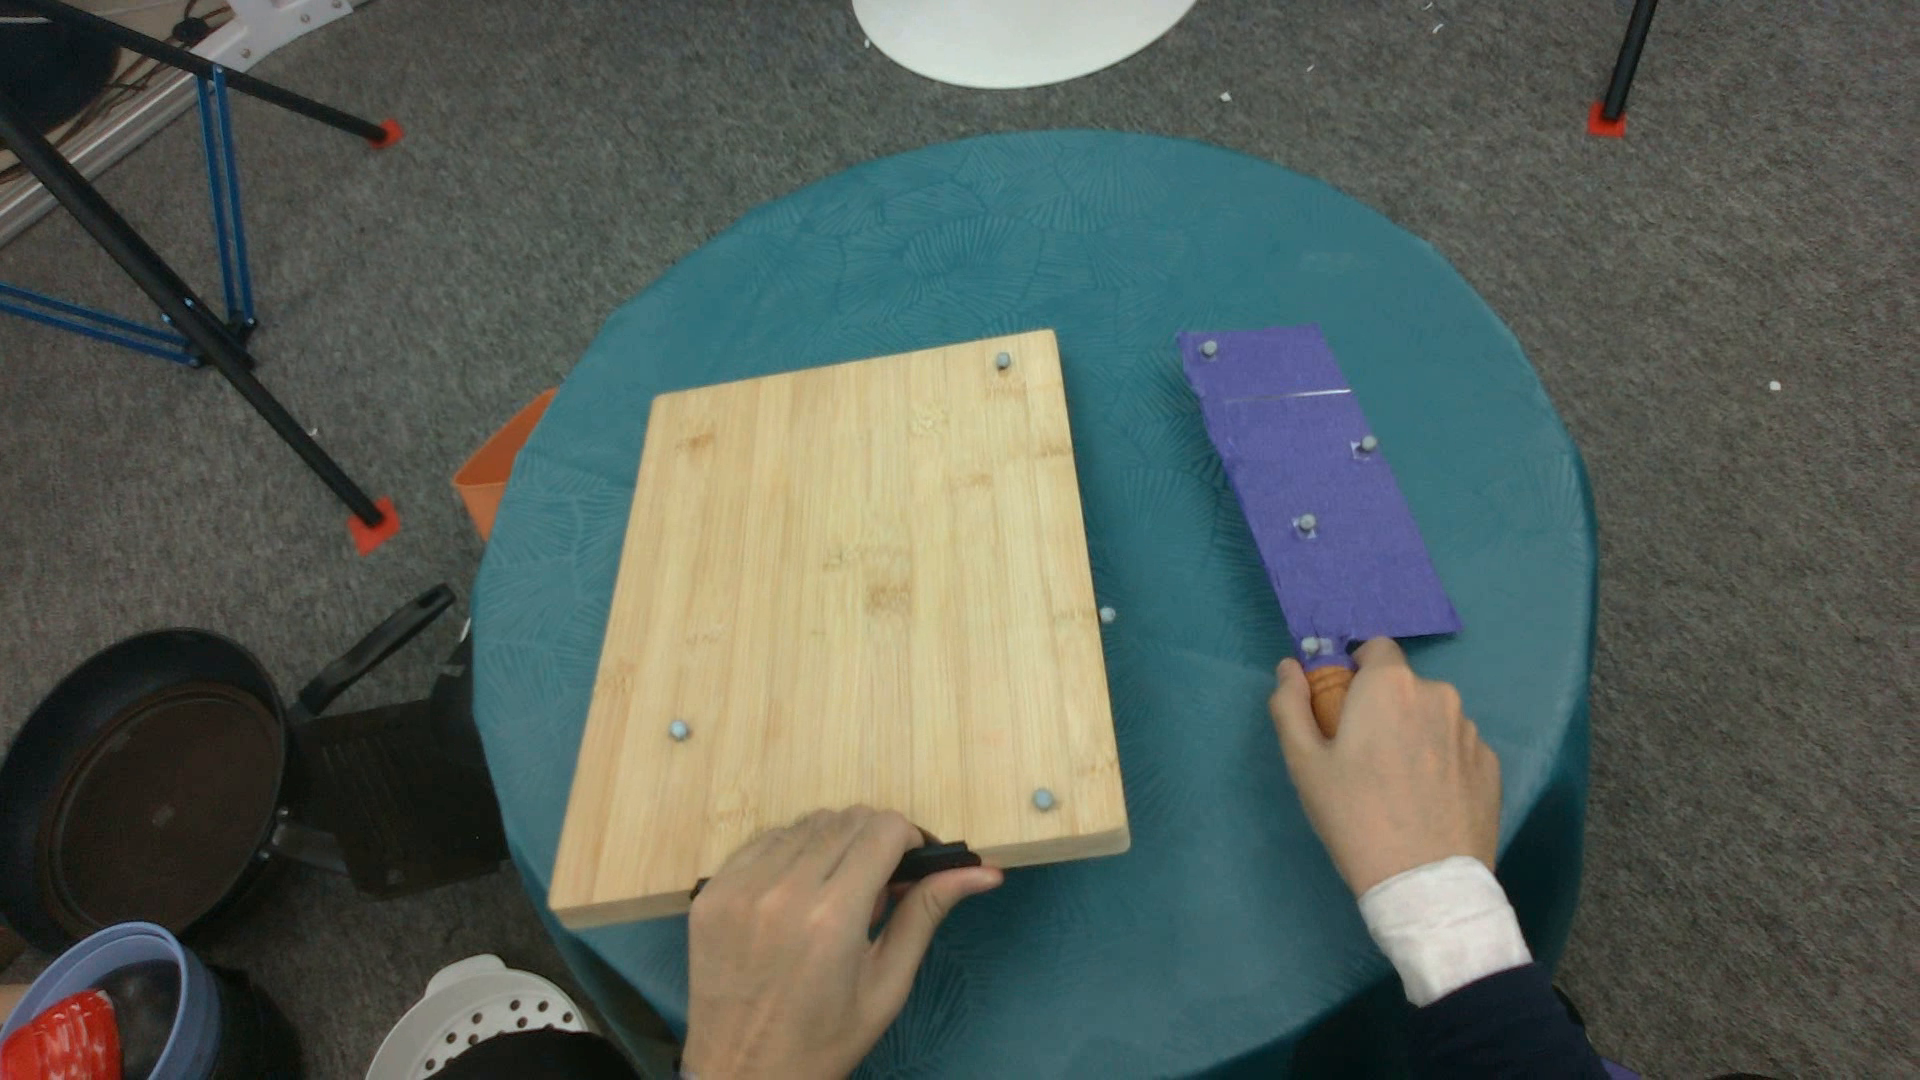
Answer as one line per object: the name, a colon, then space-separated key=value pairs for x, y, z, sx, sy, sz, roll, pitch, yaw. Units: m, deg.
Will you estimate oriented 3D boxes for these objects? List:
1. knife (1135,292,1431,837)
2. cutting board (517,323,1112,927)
knife: x=0.180 y=-0.008 z=0.688 sx=0.104 sy=0.032 sz=0.316 roll=-4 pitch=58 yaw=-18
cutting board: x=-0.066 y=0.017 z=0.676 sx=0.250 sy=0.023 sz=0.350 roll=-10 pitch=43 yaw=4
